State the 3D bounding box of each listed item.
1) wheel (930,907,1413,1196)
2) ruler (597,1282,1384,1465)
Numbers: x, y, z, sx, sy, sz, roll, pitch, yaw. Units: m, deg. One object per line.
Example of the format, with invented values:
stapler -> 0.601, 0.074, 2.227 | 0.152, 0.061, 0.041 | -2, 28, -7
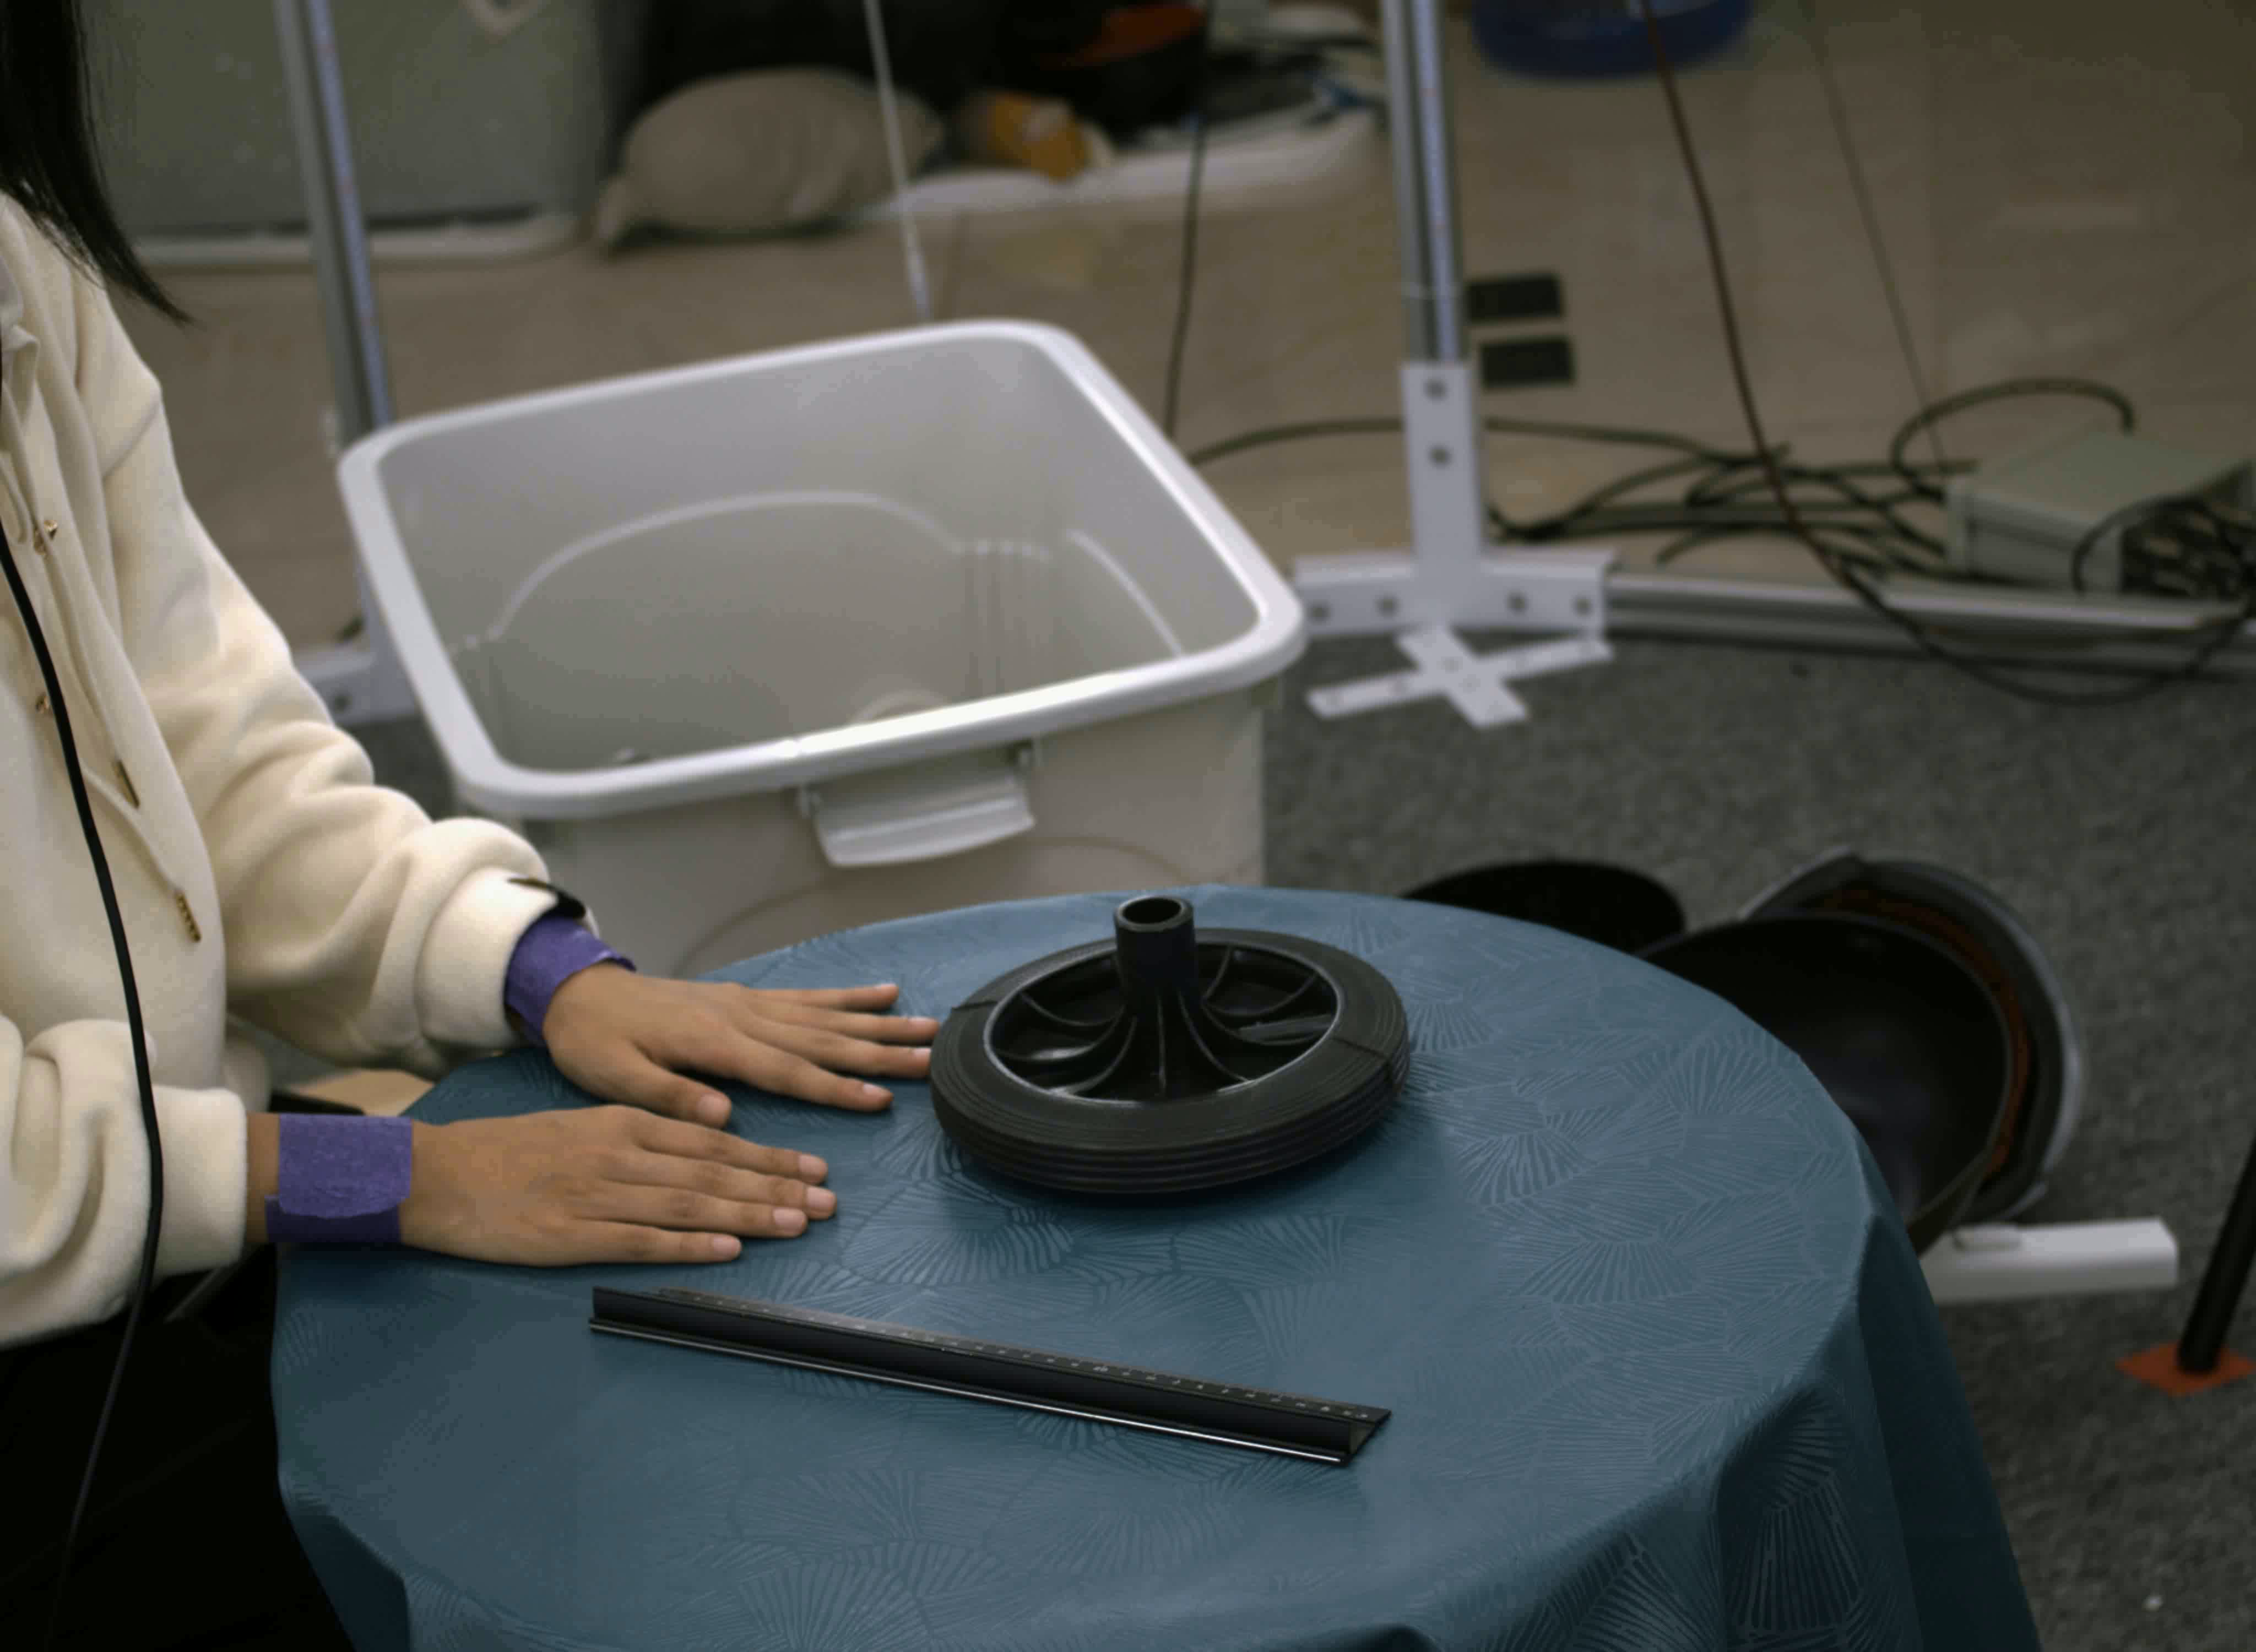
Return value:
wheel -> 0.015, 0.073, 2.195 | 0.189, 0.080, 0.185 | -18, 28, -24
ruler -> -0.053, 0.189, 2.035 | 0.311, 0.017, 0.039 | 7, 25, 28
